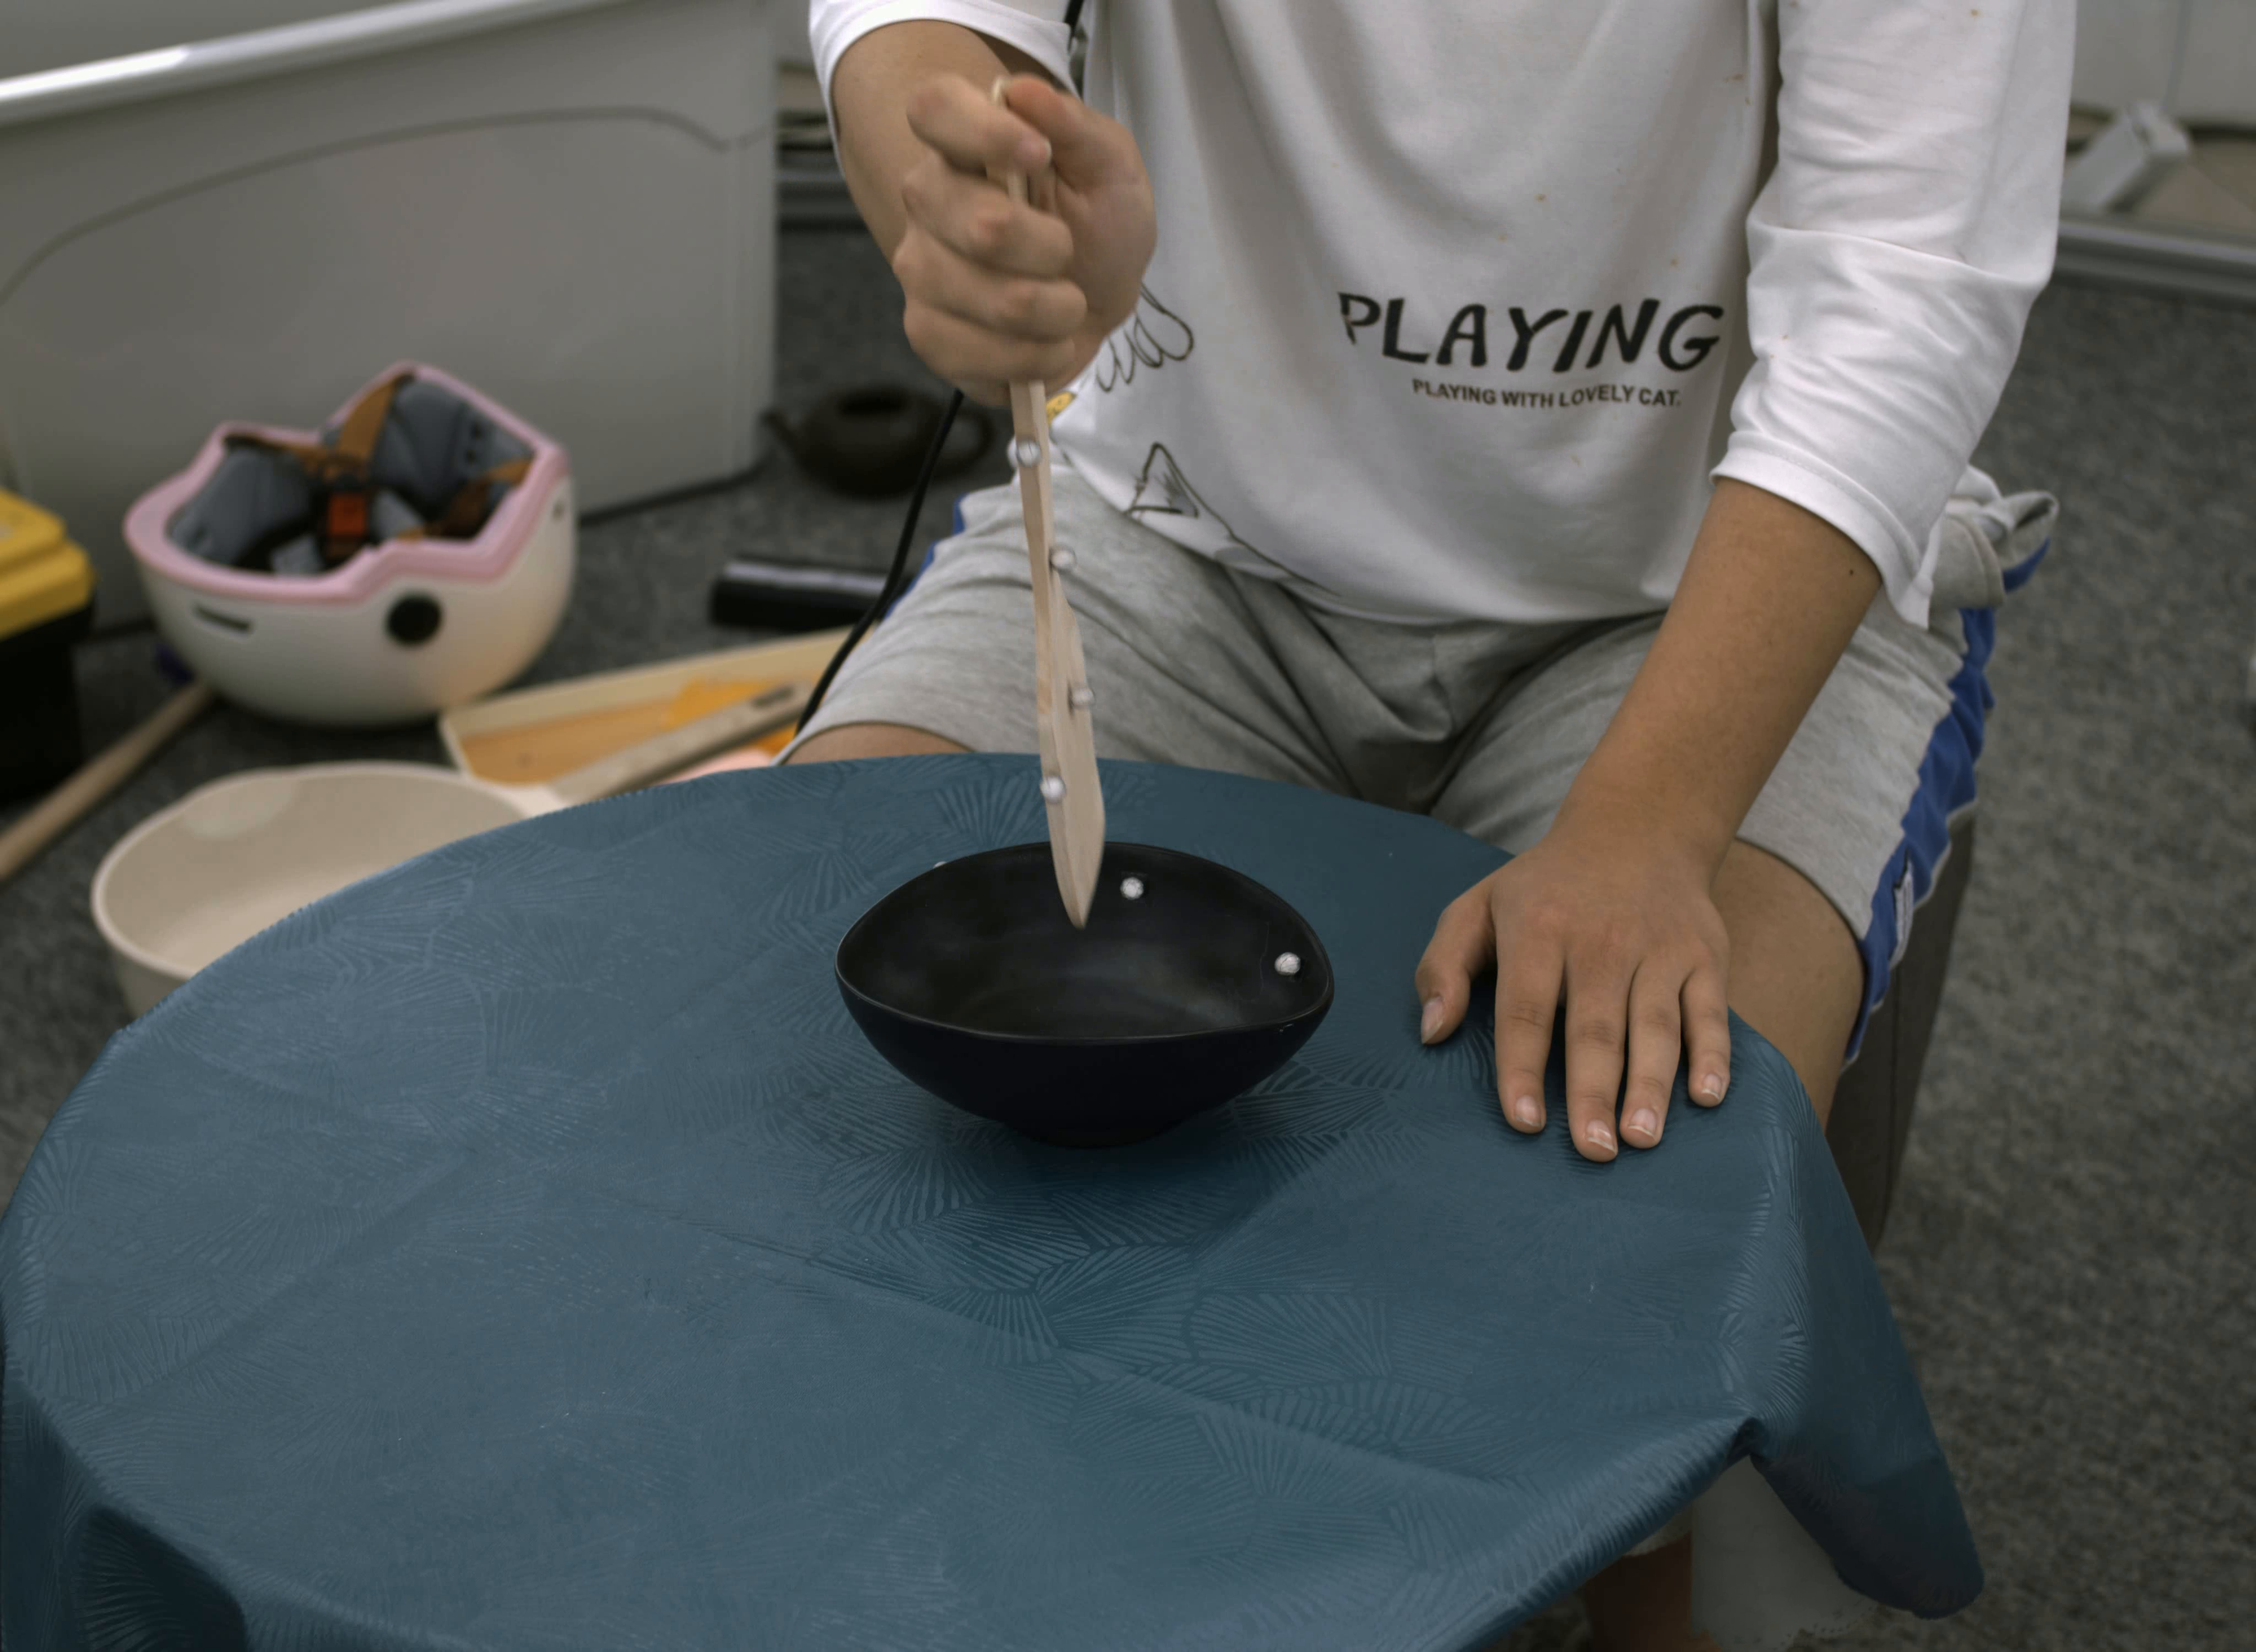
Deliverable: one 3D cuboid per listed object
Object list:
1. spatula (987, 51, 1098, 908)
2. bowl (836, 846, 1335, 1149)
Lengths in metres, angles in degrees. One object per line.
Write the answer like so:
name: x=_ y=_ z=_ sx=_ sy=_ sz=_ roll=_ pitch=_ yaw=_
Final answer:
spatula: x=-0.029 y=-0.112 z=1.819 sx=0.010 sy=0.289 sz=0.073 roll=0 pitch=30 yaw=8
bowl: x=-0.014 y=0.065 z=1.907 sx=0.169 sy=0.066 sz=0.139 roll=3 pitch=27 yaw=6
